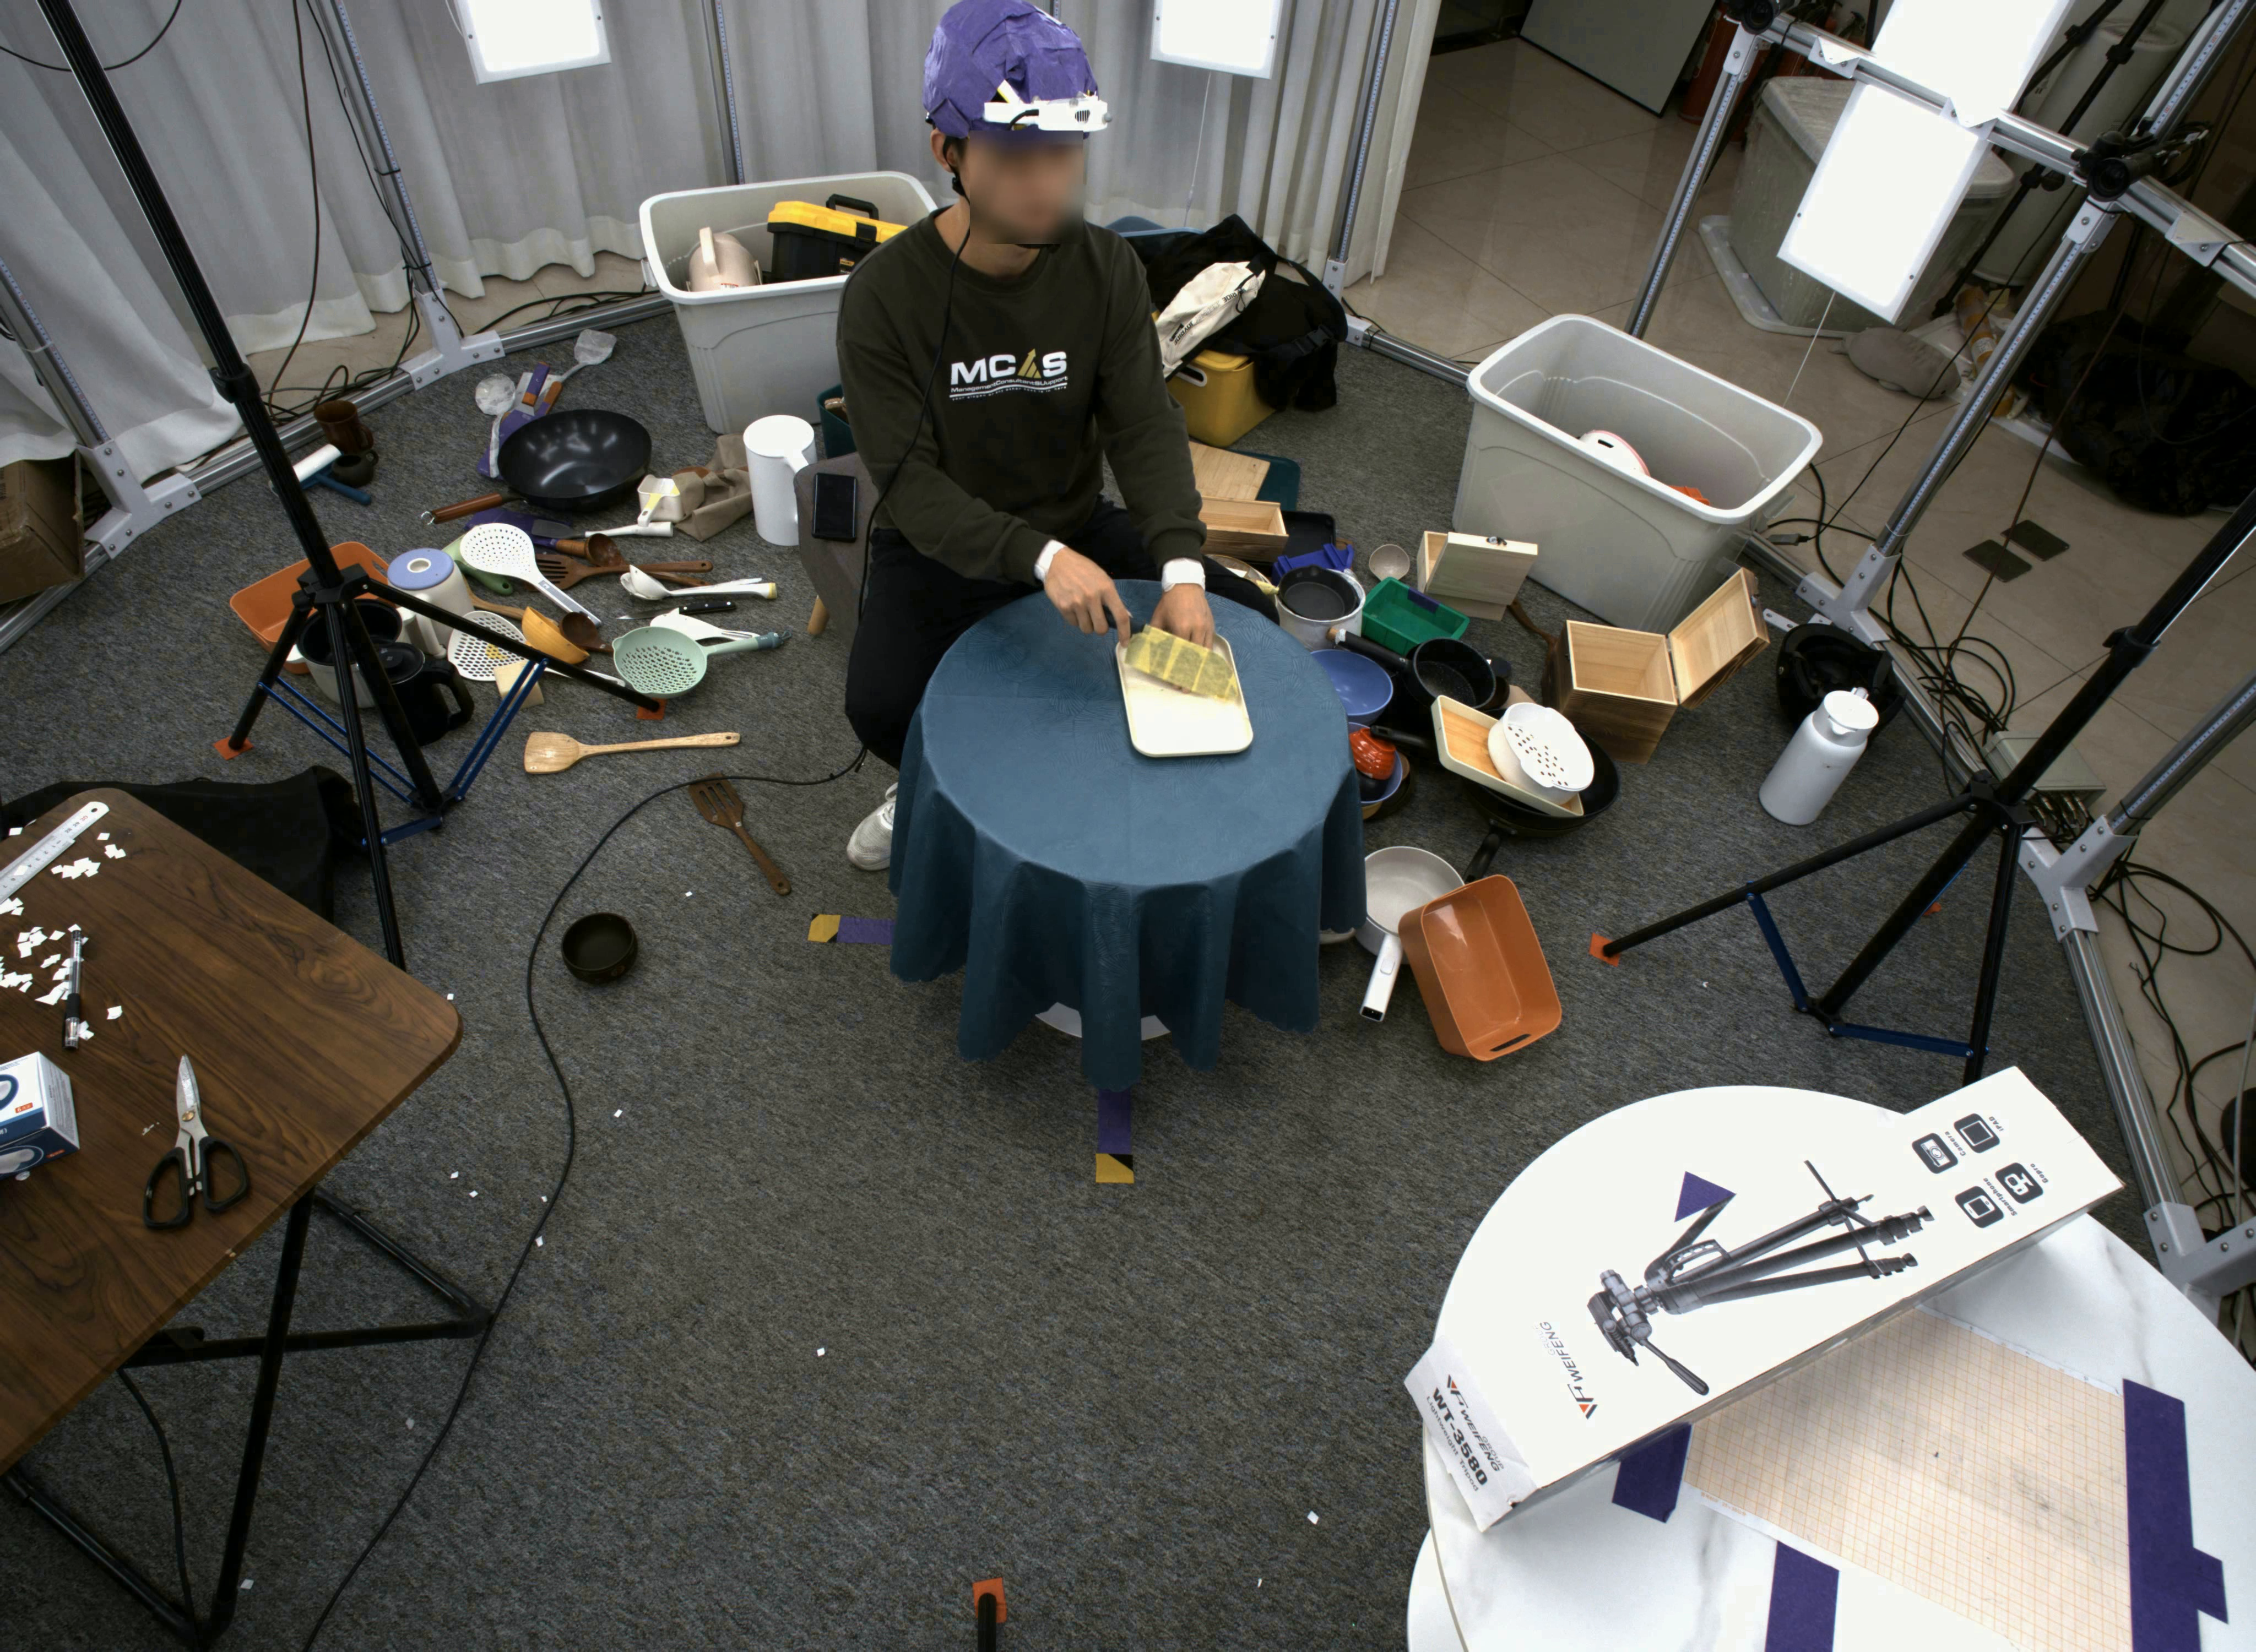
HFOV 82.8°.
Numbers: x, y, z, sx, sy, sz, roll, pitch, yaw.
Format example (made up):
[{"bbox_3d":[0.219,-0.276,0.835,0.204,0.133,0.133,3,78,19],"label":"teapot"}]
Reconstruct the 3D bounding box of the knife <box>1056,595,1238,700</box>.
[{"bbox_3d":[0.026,-0.252,1.814,0.290,0.079,0.027,26,35,6],"label":"knife"}]

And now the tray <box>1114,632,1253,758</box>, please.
[{"bbox_3d":[0.076,-0.188,1.824,0.171,0.017,0.246,-4,49,-7],"label":"tray"}]
